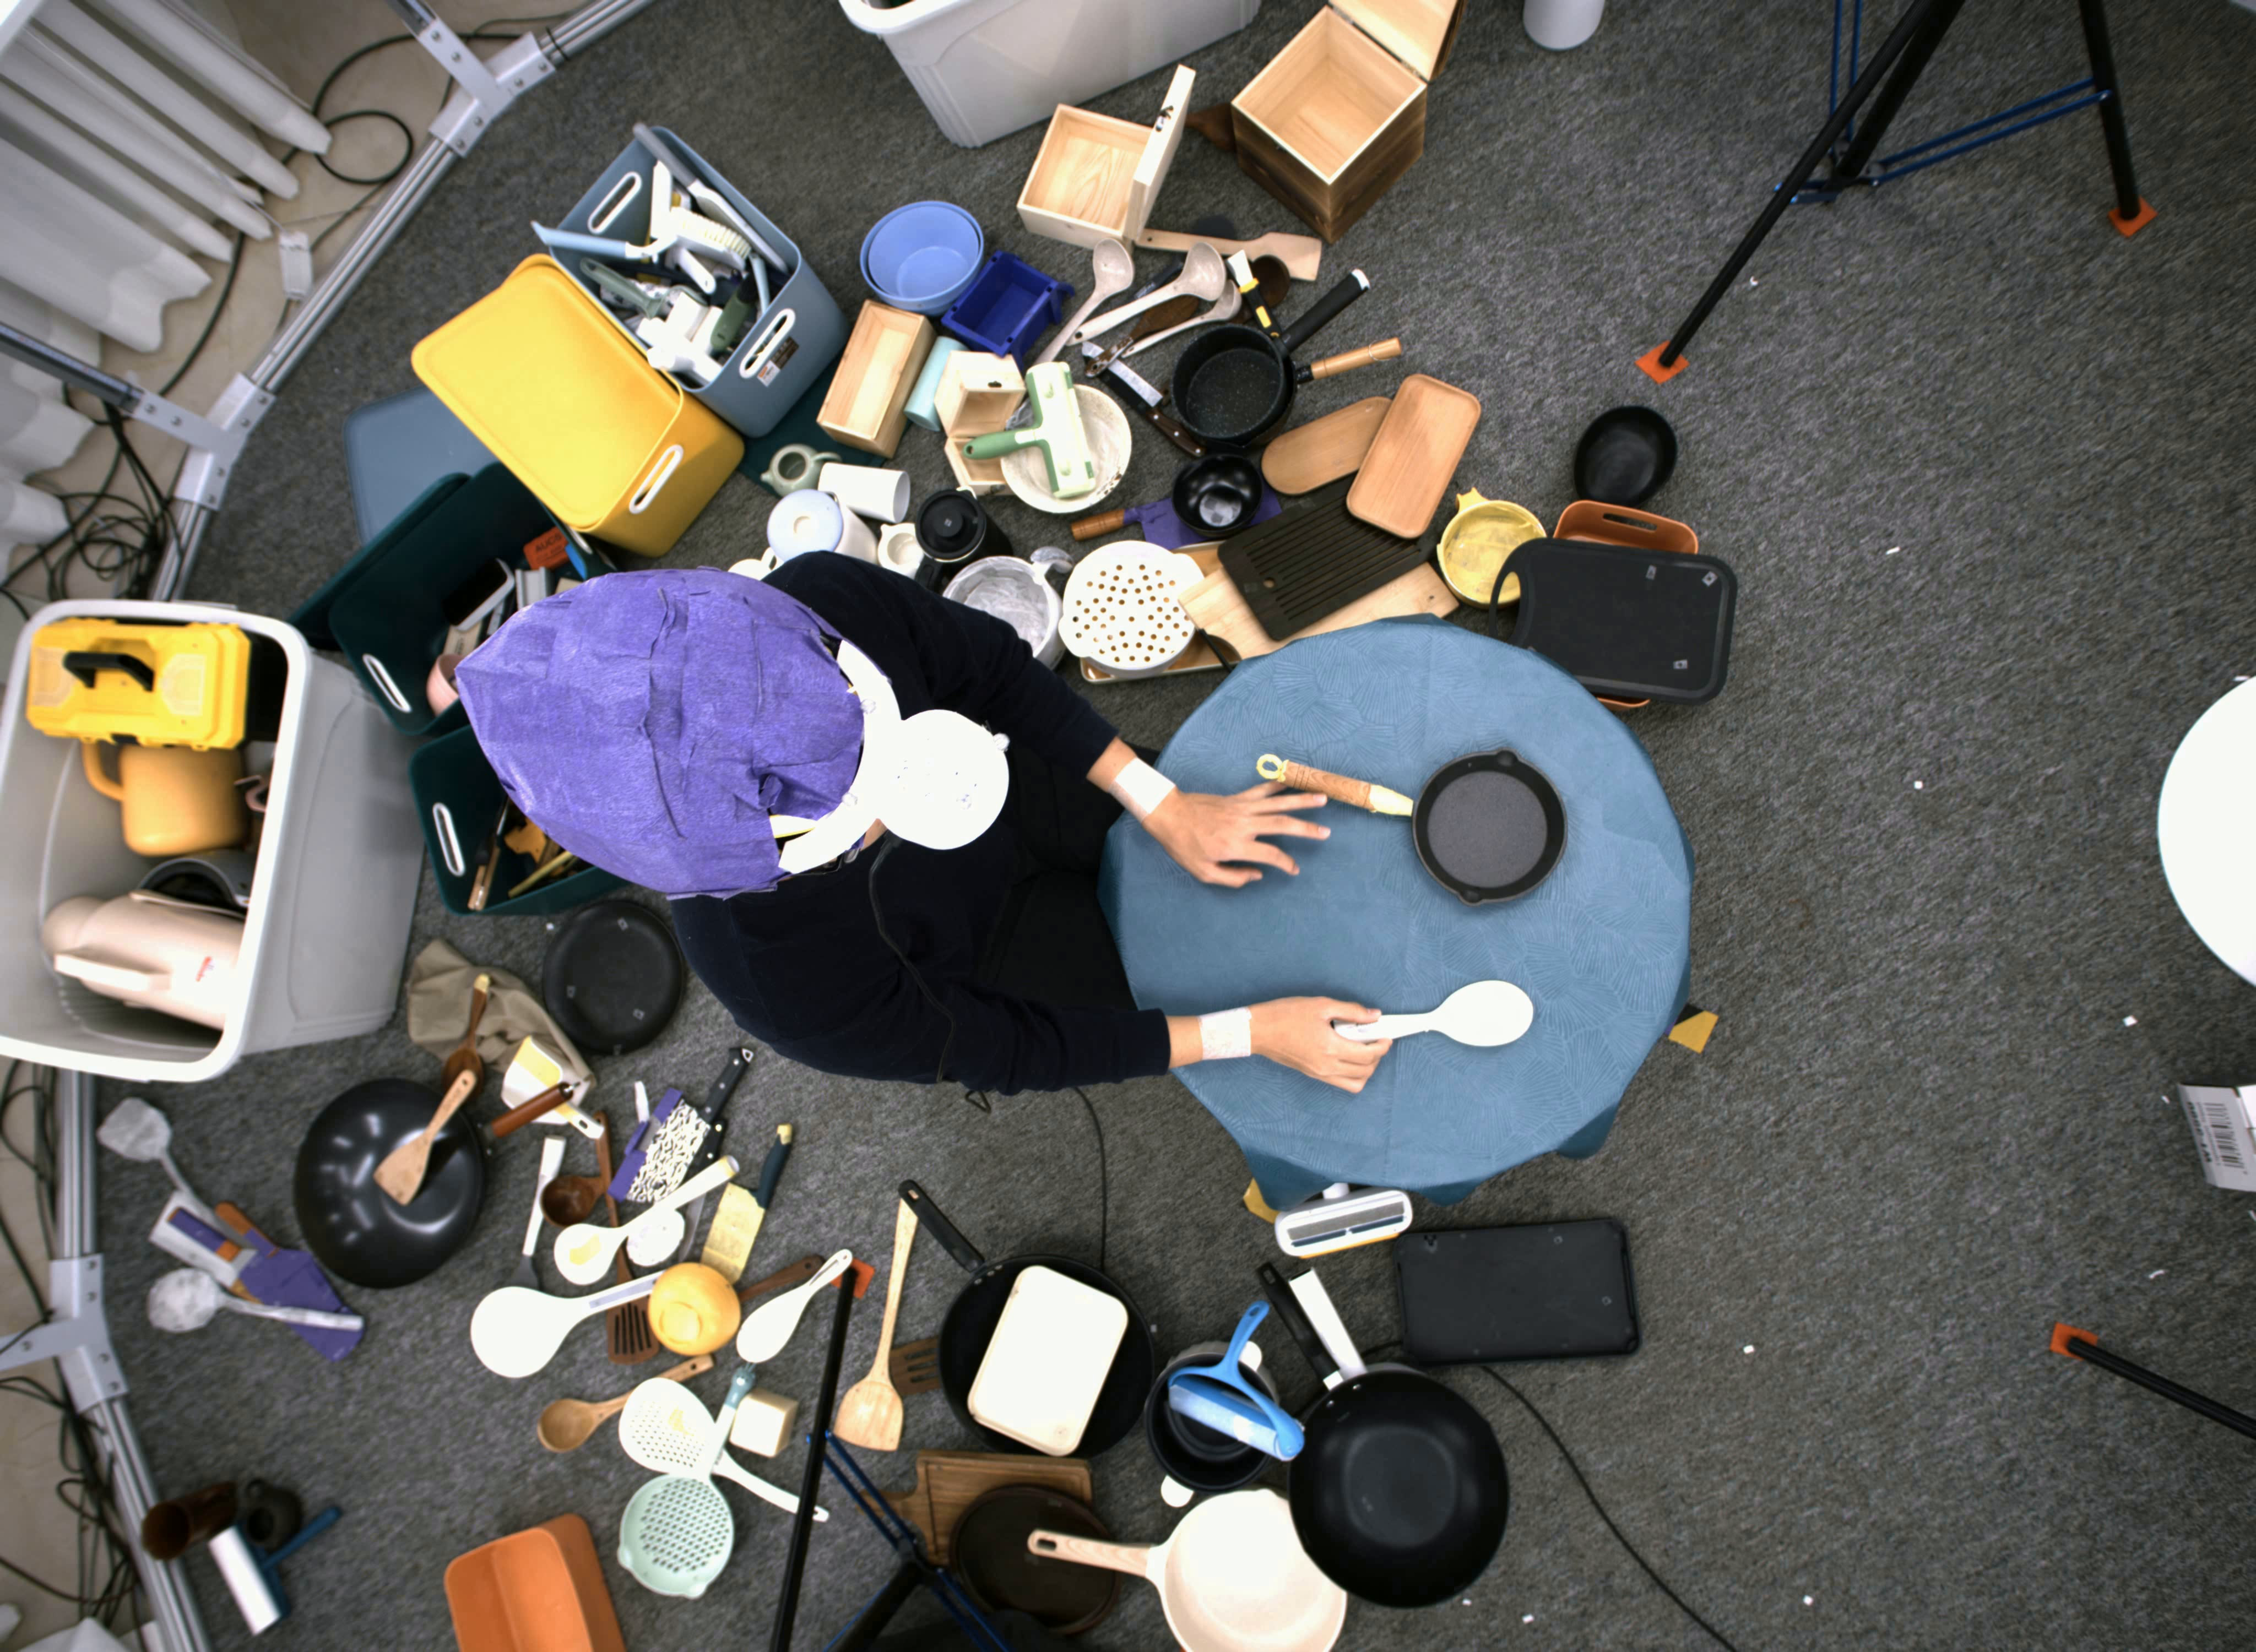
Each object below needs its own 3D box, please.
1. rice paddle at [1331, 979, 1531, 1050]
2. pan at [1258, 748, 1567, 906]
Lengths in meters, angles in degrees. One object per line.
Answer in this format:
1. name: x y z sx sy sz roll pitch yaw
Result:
1. rice paddle: 0.313 0.198 1.429 0.206 0.030 0.067 -11 64 10
2. pan: 0.293 -0.024 1.435 0.324 0.049 0.169 17 90 10
